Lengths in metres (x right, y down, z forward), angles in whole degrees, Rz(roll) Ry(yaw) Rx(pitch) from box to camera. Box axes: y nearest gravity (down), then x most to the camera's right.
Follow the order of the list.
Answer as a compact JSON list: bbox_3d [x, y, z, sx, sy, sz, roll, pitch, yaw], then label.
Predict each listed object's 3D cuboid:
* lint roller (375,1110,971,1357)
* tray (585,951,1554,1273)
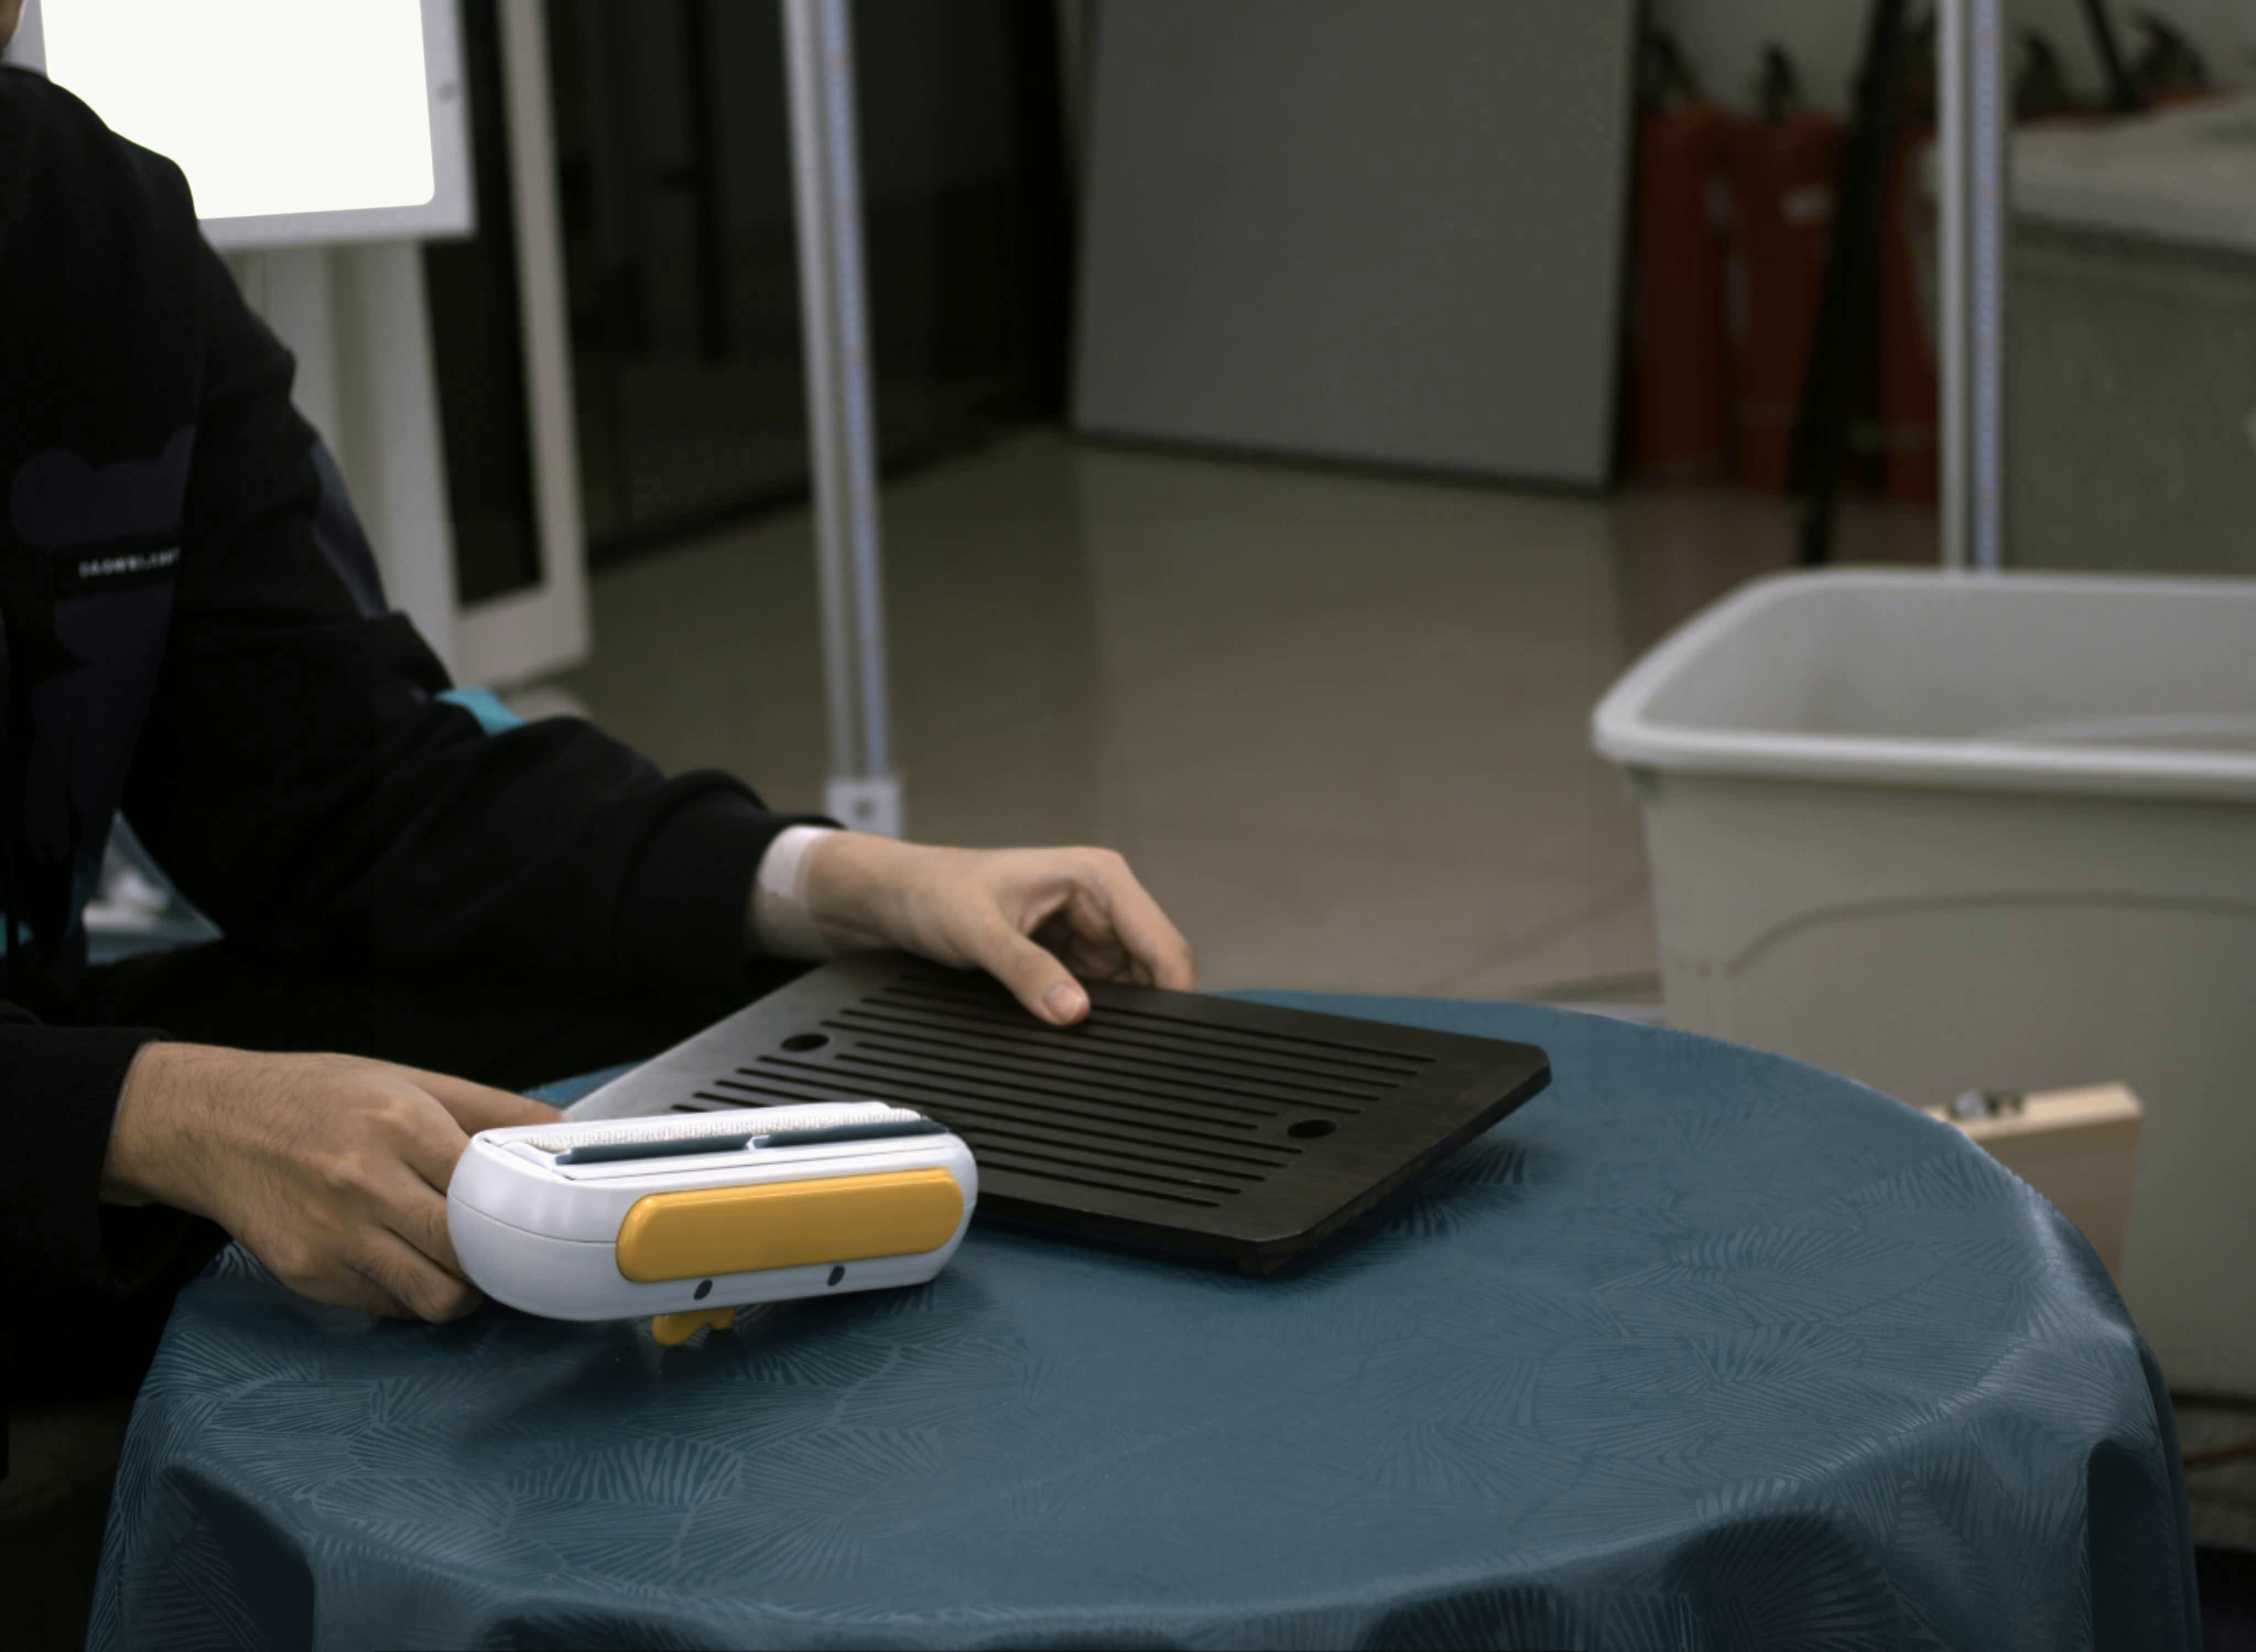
[{"bbox_3d":[-0.169,0.118,1.689,0.188,0.075,0.194,-6,11,-43],"label":"lint roller"},{"bbox_3d":[-0.021,0.094,1.819,0.308,0.019,0.167,7,24,38],"label":"tray"}]
